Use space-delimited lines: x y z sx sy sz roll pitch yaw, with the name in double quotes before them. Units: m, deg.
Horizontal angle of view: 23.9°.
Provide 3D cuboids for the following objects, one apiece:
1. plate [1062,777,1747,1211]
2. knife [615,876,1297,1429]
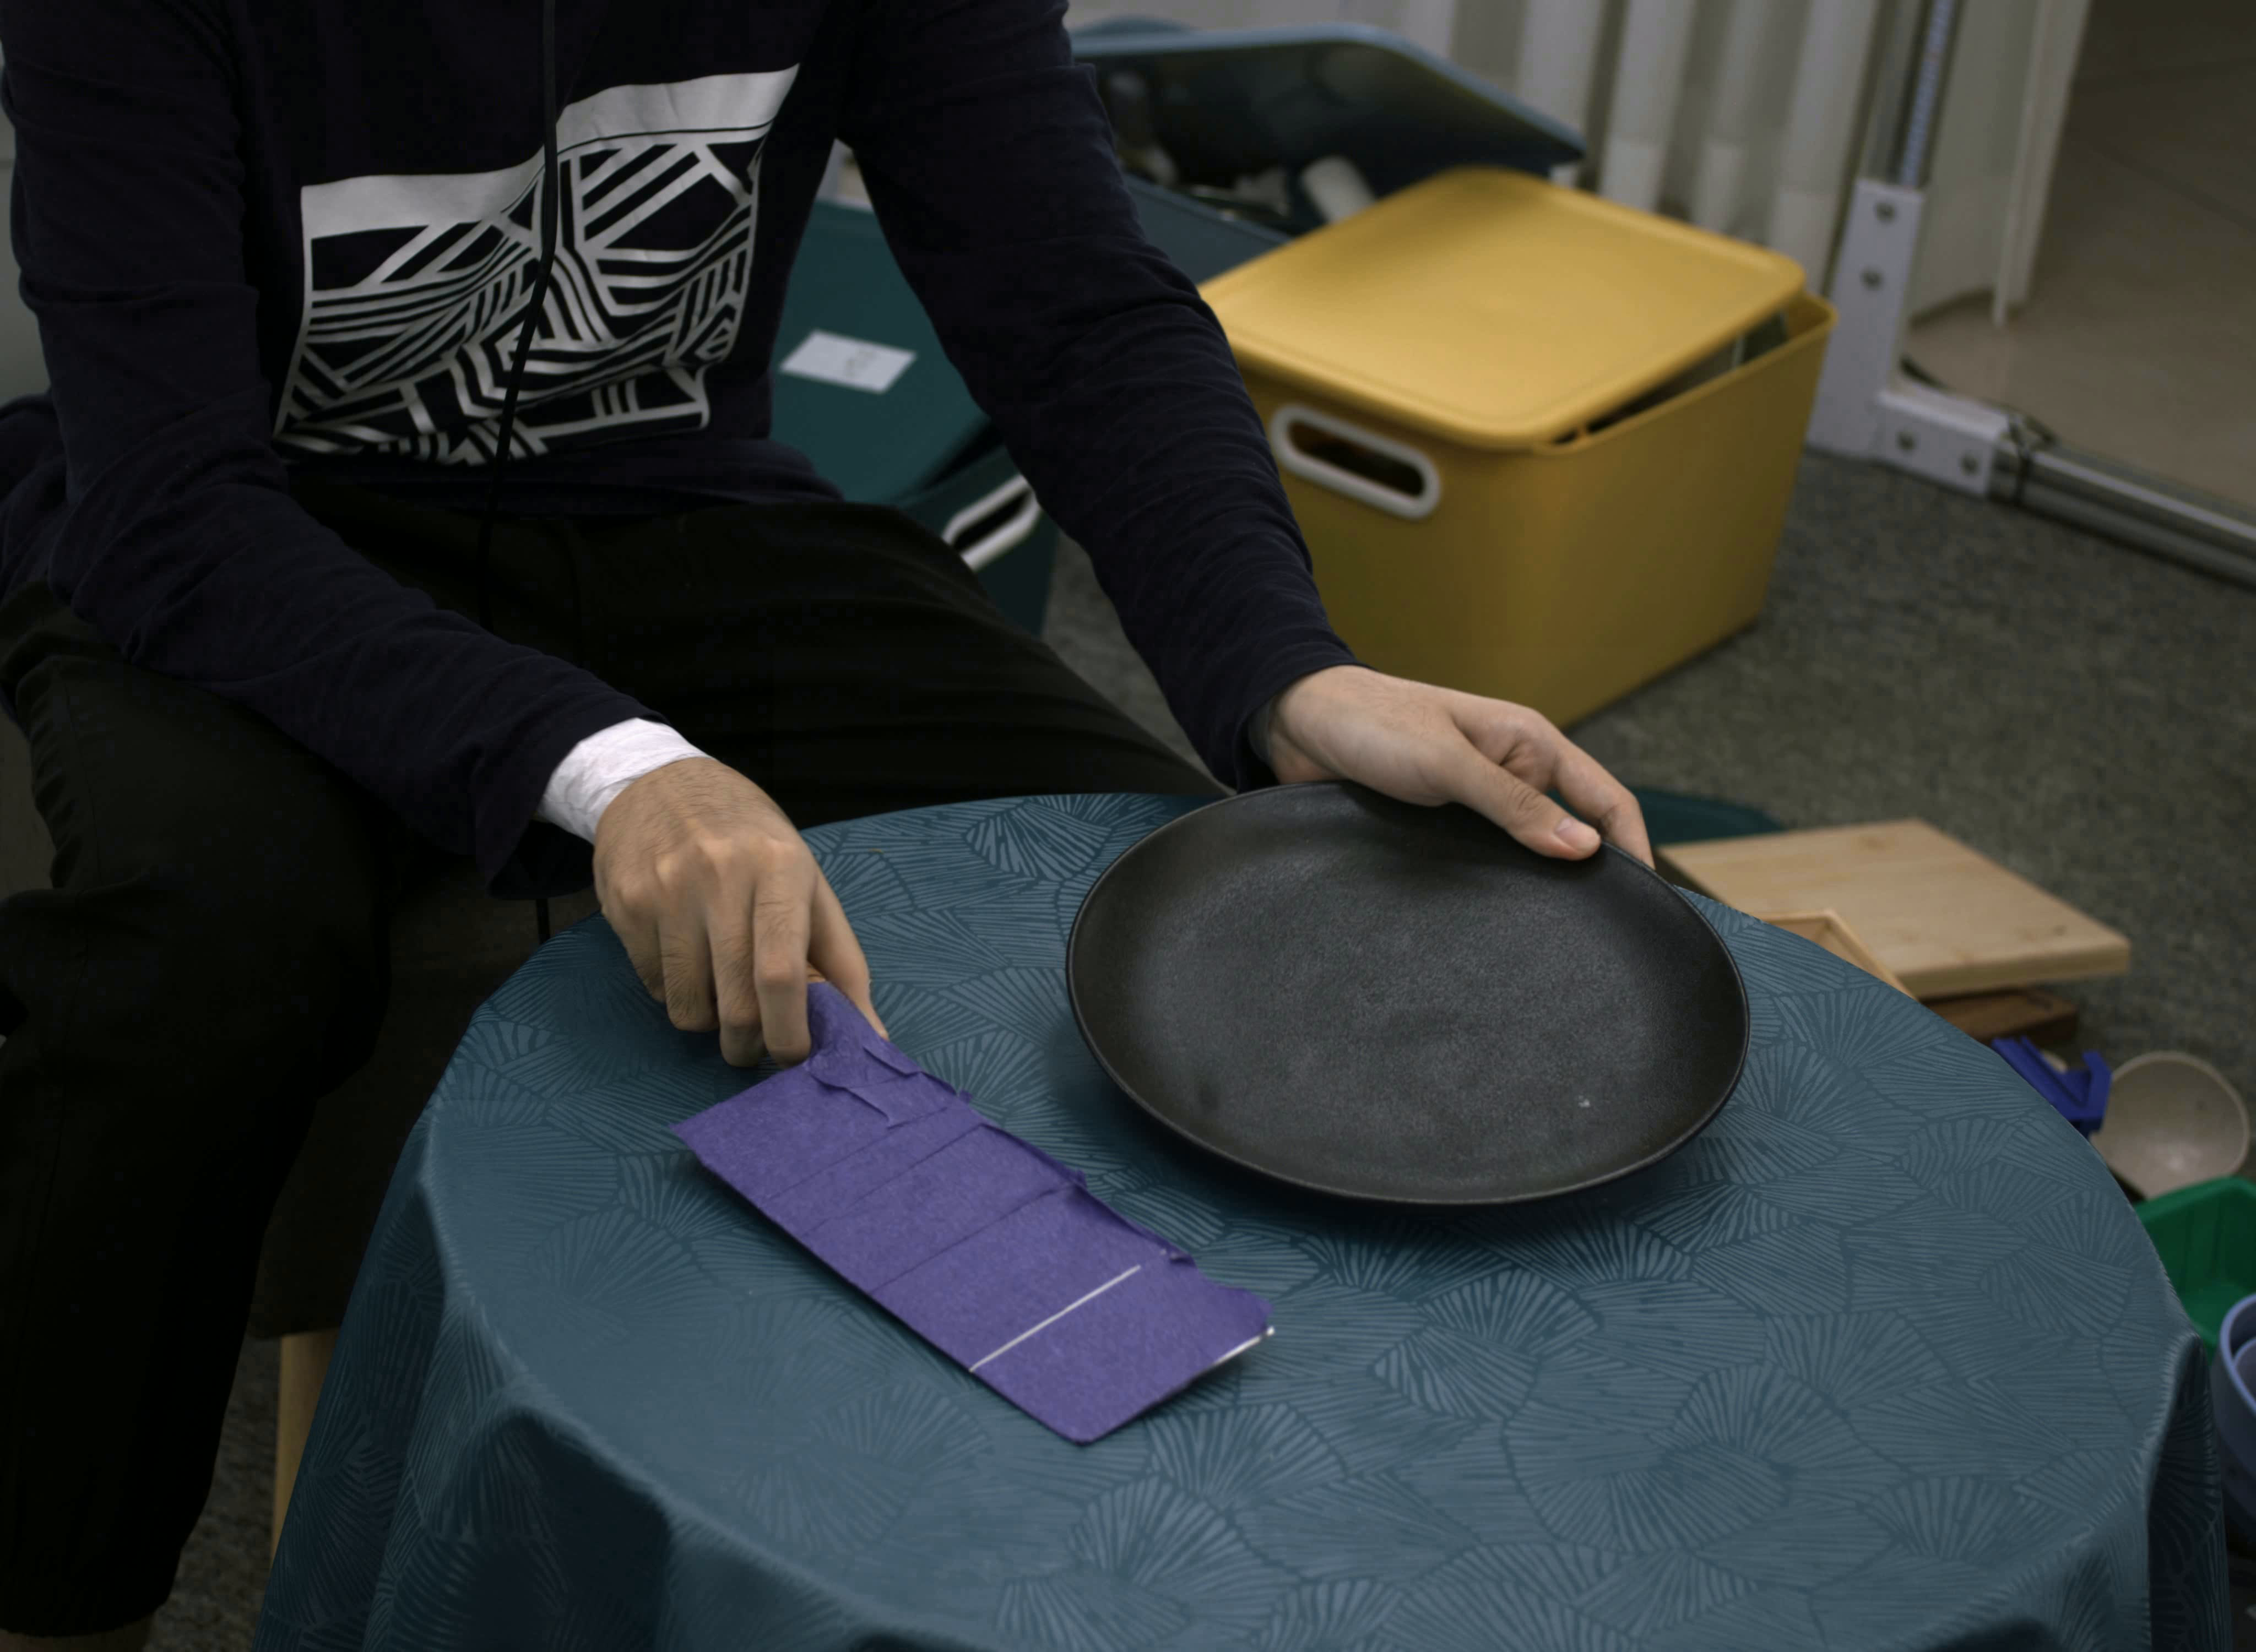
"plate" 0.097 0.062 1.886 0.243 0.023 0.246 3 36 -2
"knife" -0.087 0.105 1.777 0.103 0.032 0.318 -27 42 -34
